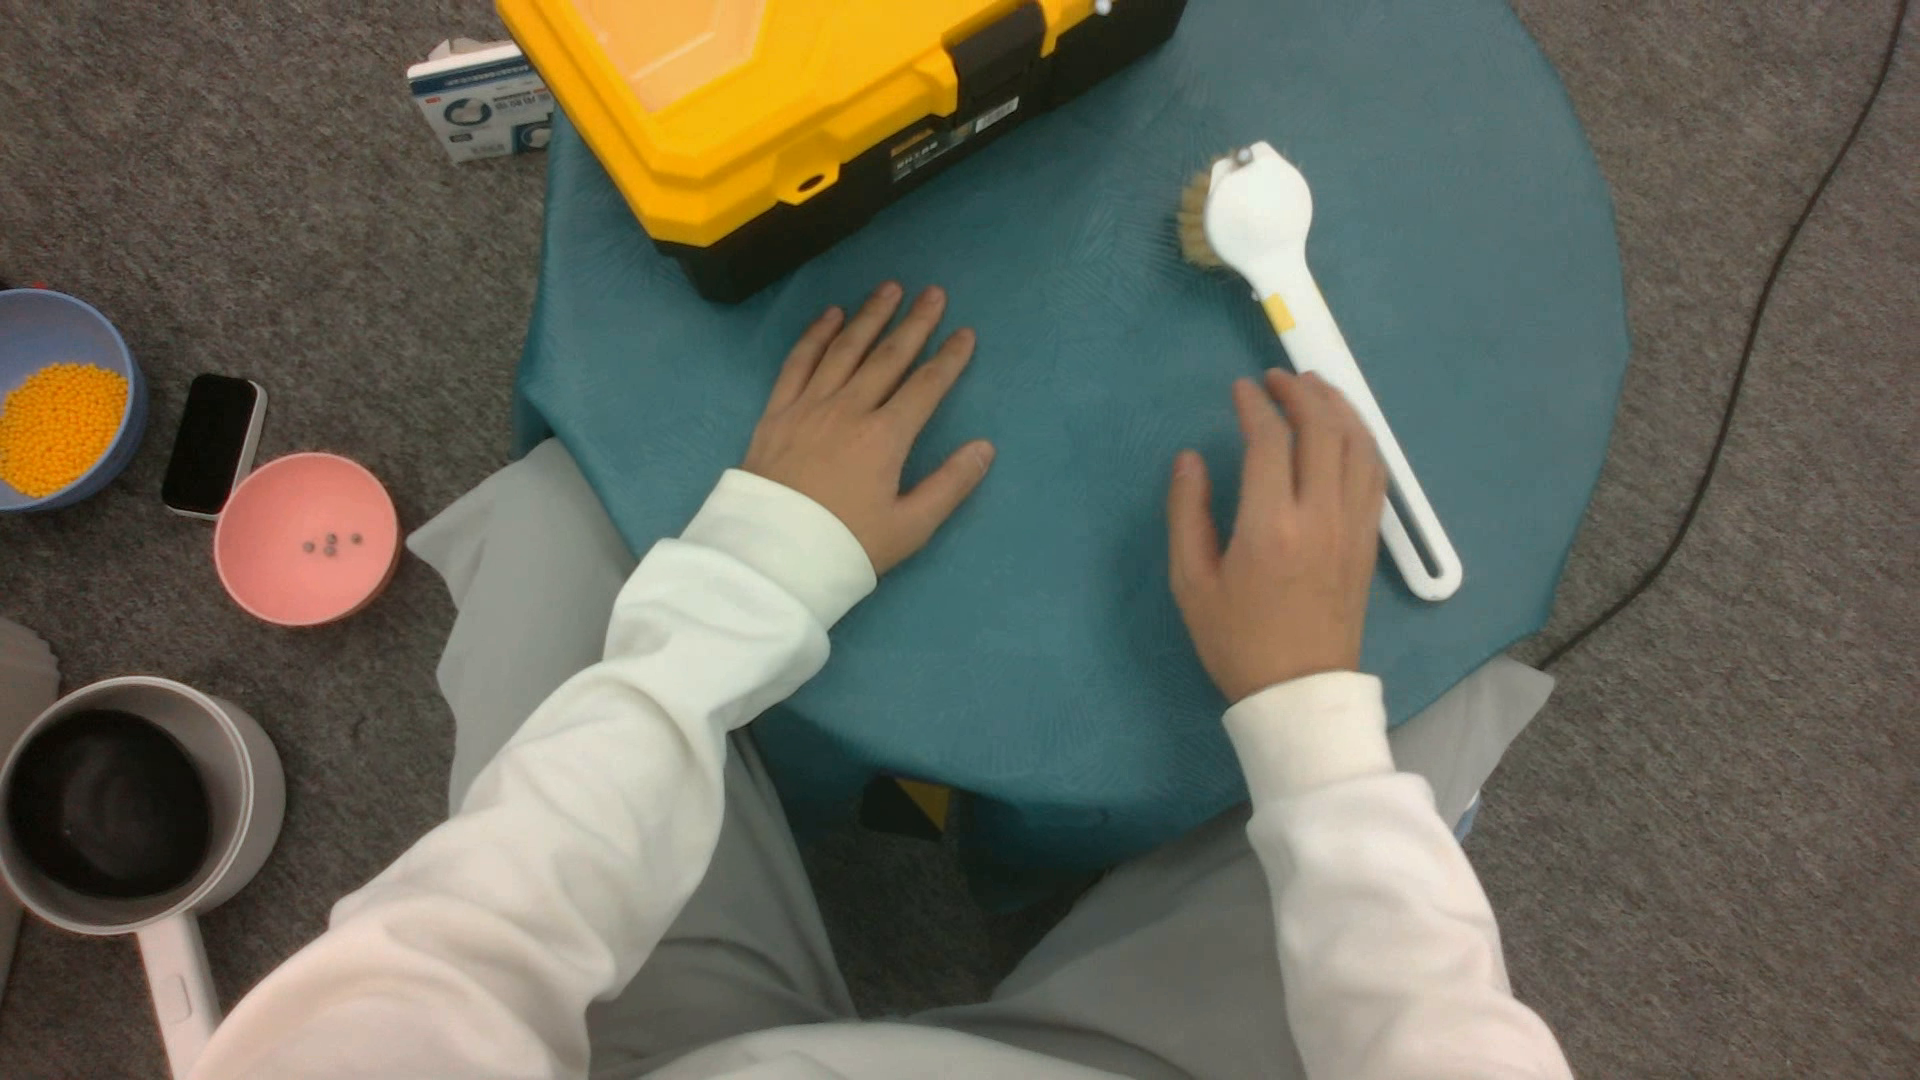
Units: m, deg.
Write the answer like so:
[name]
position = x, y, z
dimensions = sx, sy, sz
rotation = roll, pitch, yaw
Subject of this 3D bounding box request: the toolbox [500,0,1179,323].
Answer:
[toolbox]
position = -0.036, -0.269, 0.710
dimensions = 0.352, 0.172, 0.181
rotation = -35, 80, -9

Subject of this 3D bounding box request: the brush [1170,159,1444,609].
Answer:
[brush]
position = 0.195, -0.085, 0.761
dimensions = 0.068, 0.056, 0.266
rotation = -27, 95, 11
